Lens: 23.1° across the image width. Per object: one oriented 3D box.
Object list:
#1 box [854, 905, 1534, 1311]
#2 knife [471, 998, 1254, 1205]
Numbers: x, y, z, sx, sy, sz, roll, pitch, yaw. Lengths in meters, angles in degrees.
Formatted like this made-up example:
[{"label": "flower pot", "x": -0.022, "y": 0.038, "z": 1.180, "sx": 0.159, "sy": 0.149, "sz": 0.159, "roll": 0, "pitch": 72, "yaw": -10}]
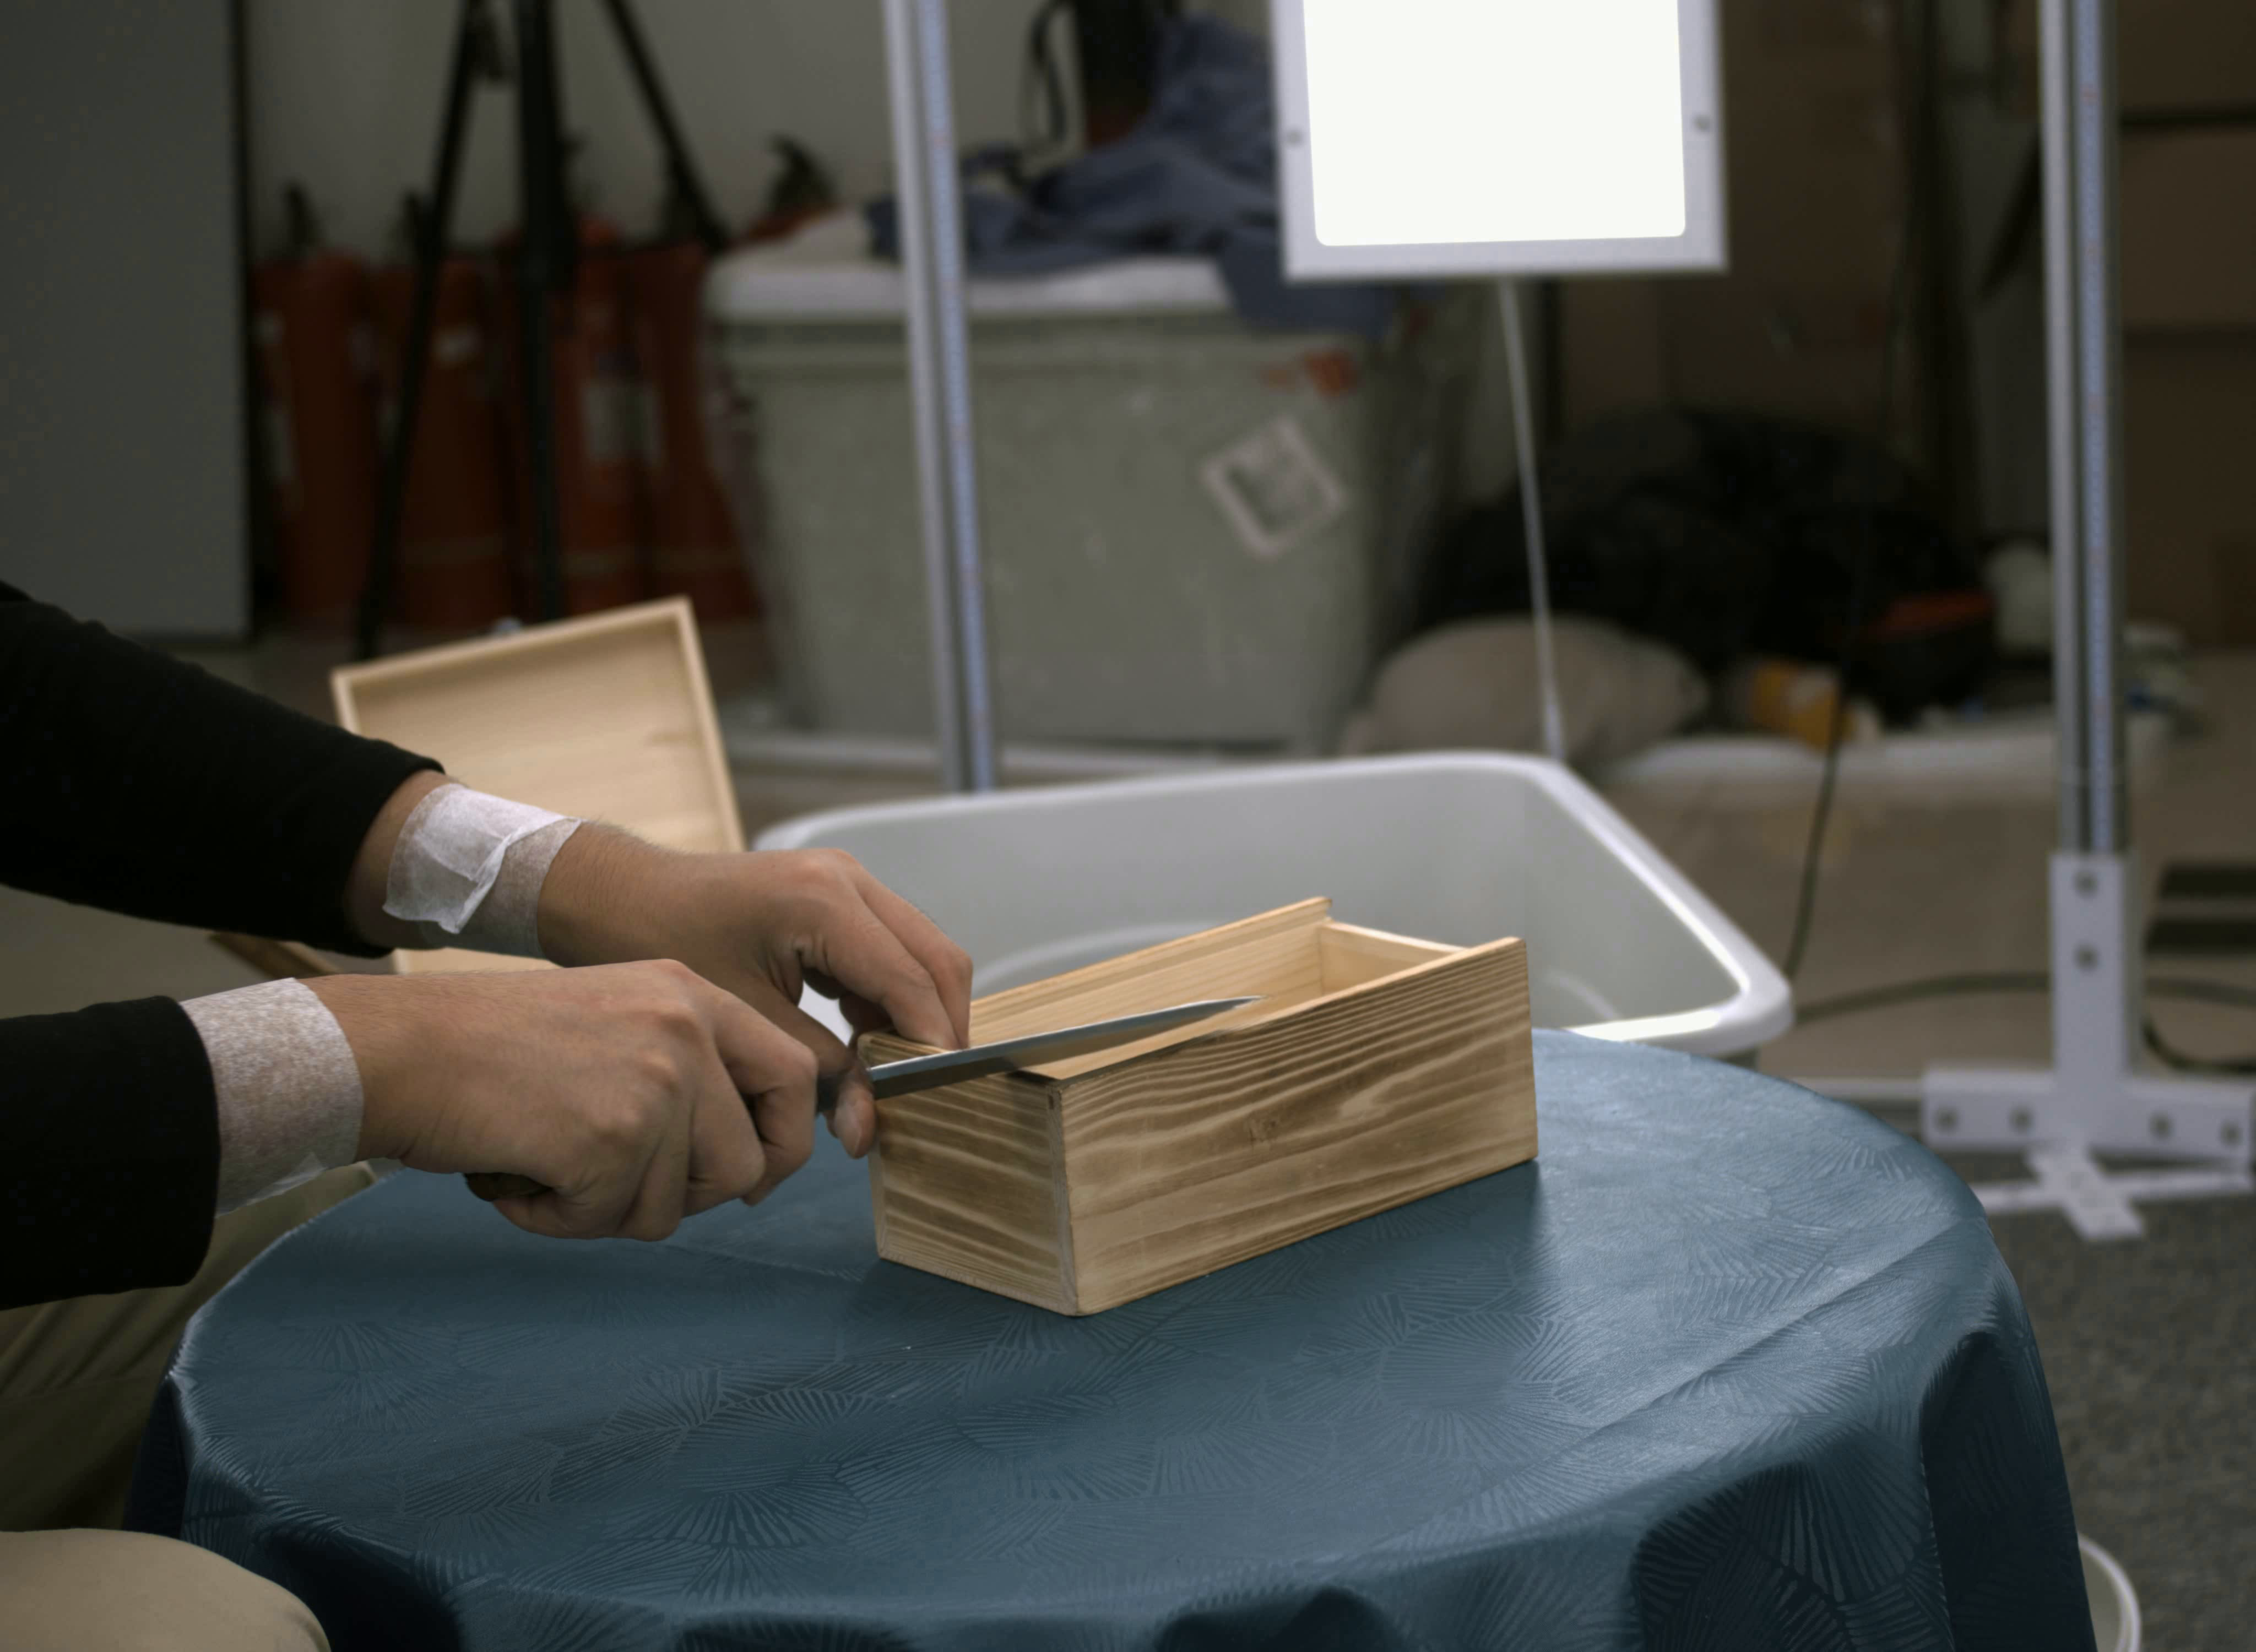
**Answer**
[{"label": "box", "x": 0.025, "y": 0.092, "z": 1.862, "sx": 0.206, "sy": 0.080, "sz": 0.110, "roll": -15, "pitch": 16, "yaw": -37}, {"label": "knife", "x": -0.076, "y": 0.081, "z": 1.722, "sx": 0.282, "sy": 0.020, "sz": 0.051, "roll": -11, "pitch": -13, "yaw": -33}]
